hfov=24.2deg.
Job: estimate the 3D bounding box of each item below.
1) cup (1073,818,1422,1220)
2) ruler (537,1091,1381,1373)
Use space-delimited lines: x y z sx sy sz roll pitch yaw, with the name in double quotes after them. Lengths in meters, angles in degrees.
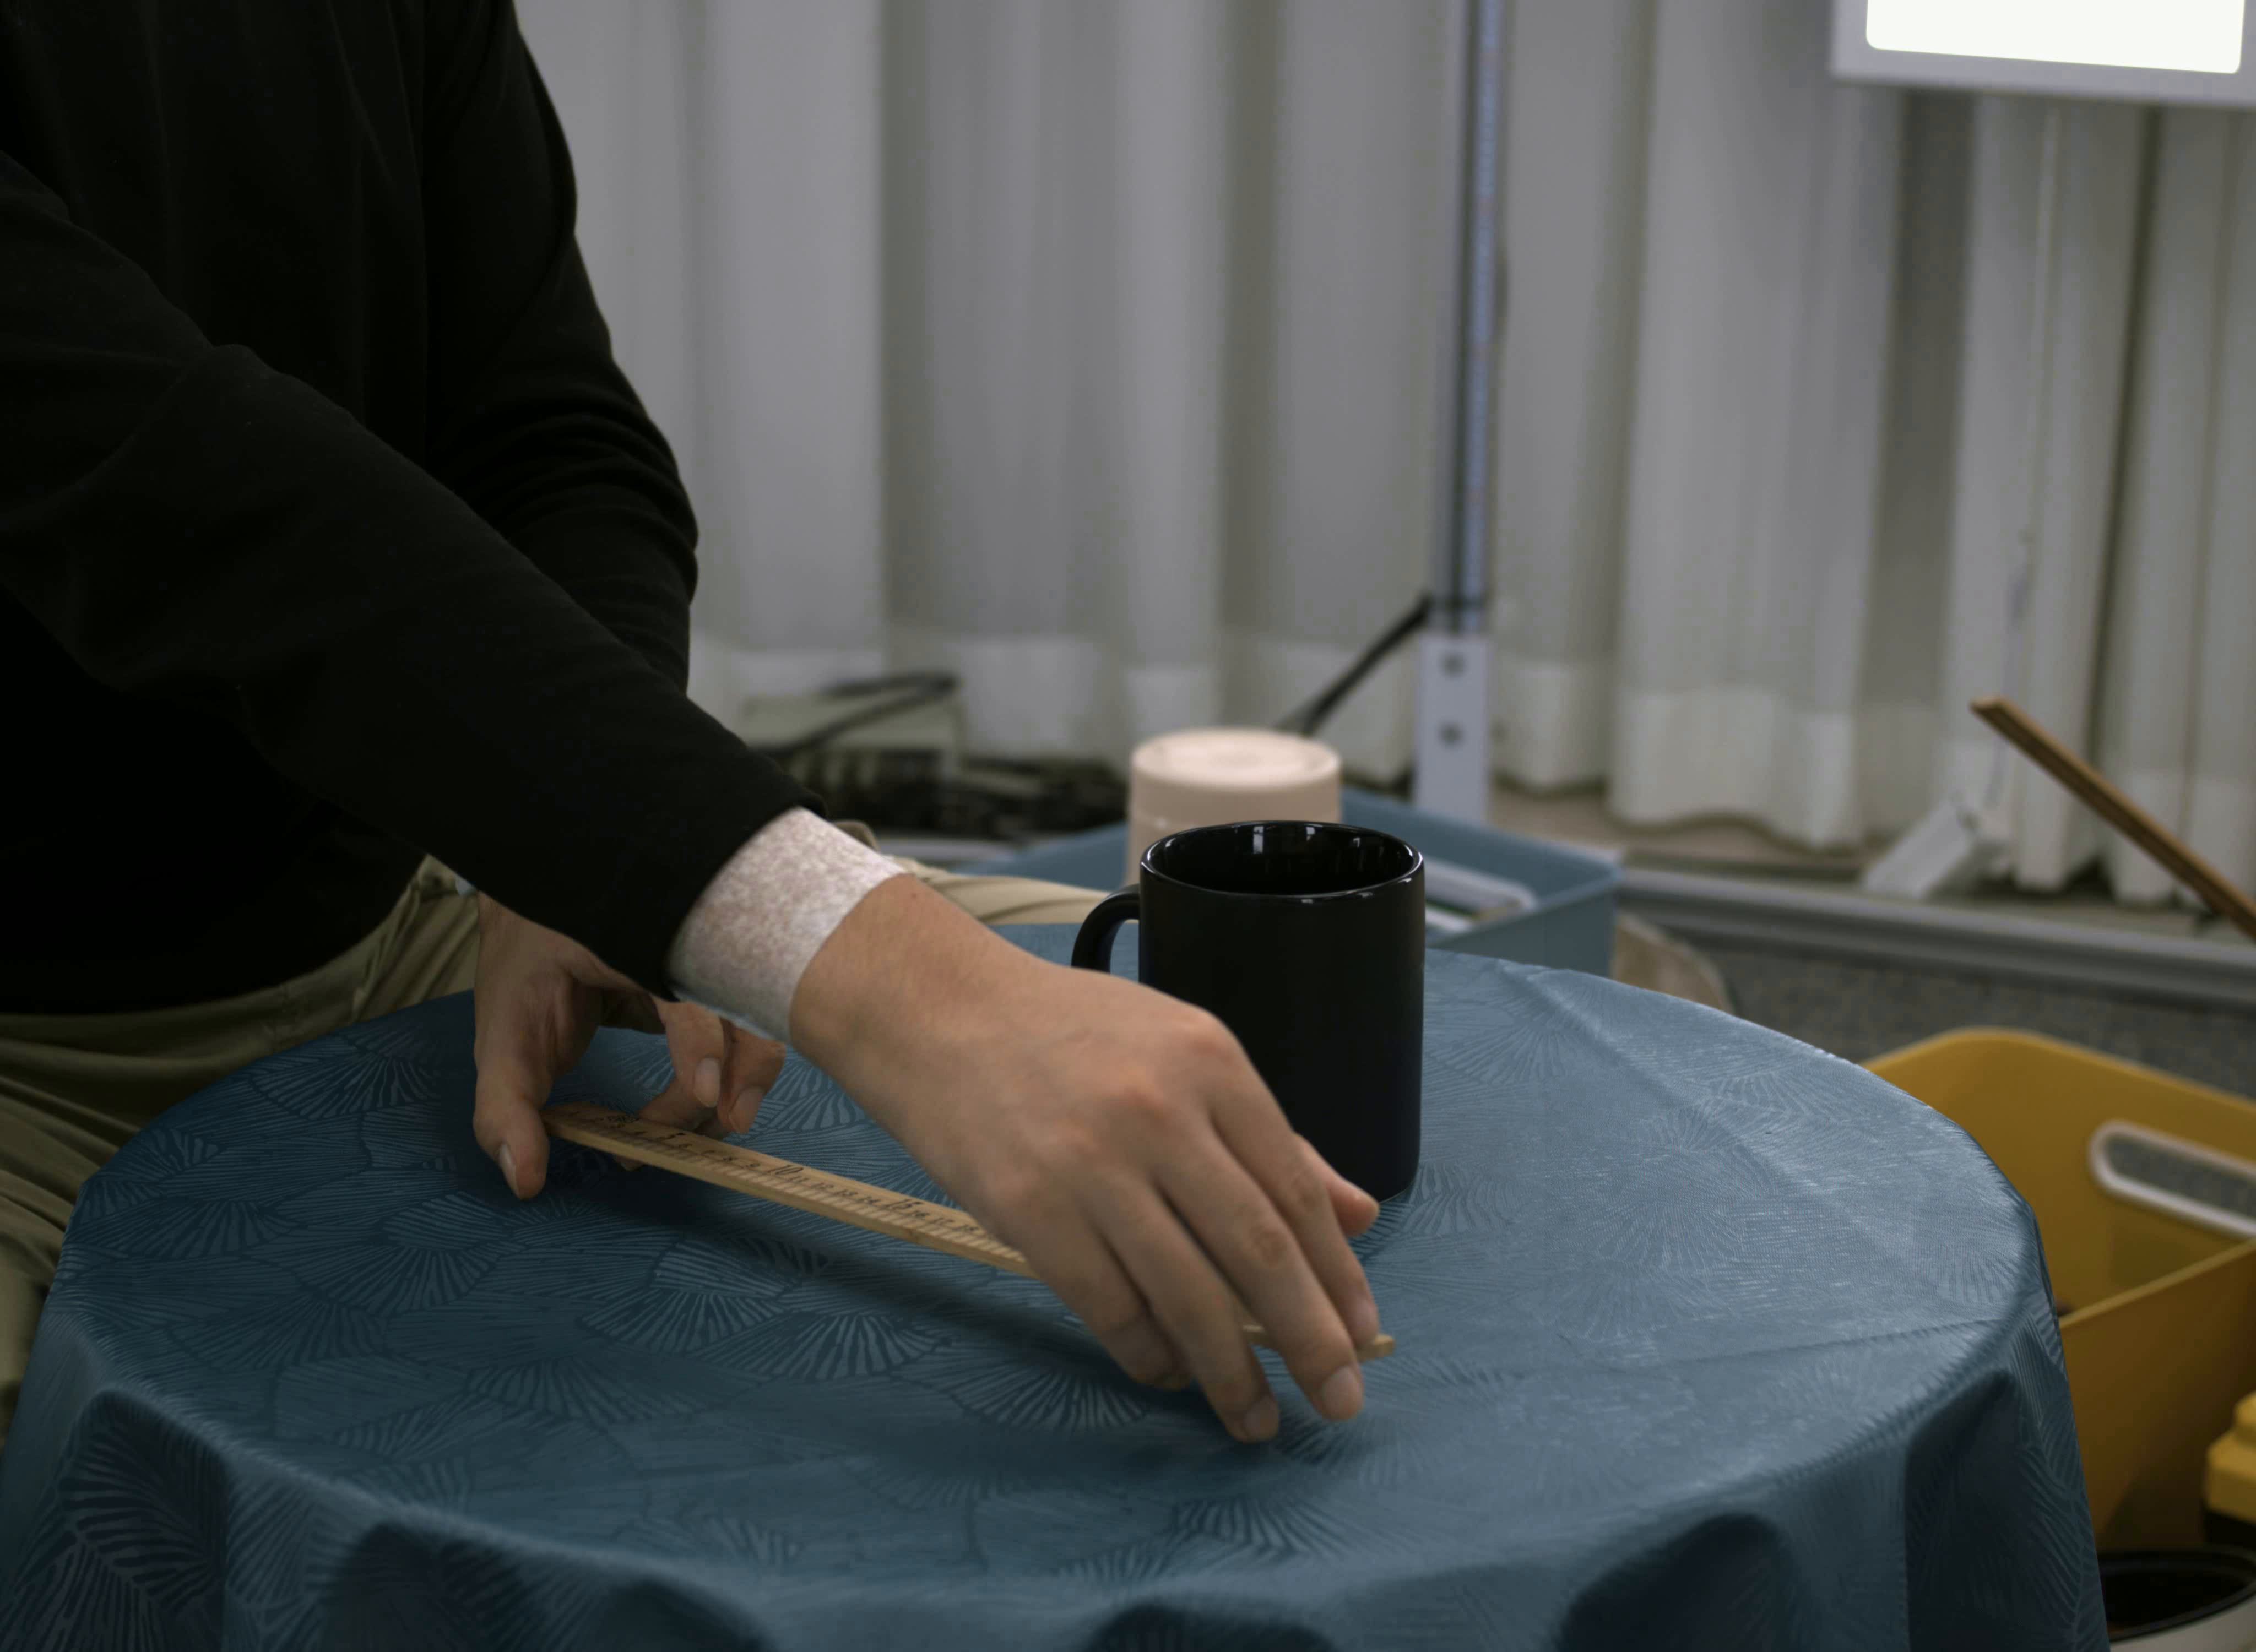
0.033 0.056 1.635 0.122 0.106 0.089 12 21 37 "cup"
-0.058 0.113 1.531 0.327 0.022 0.027 13 15 42 "ruler"
